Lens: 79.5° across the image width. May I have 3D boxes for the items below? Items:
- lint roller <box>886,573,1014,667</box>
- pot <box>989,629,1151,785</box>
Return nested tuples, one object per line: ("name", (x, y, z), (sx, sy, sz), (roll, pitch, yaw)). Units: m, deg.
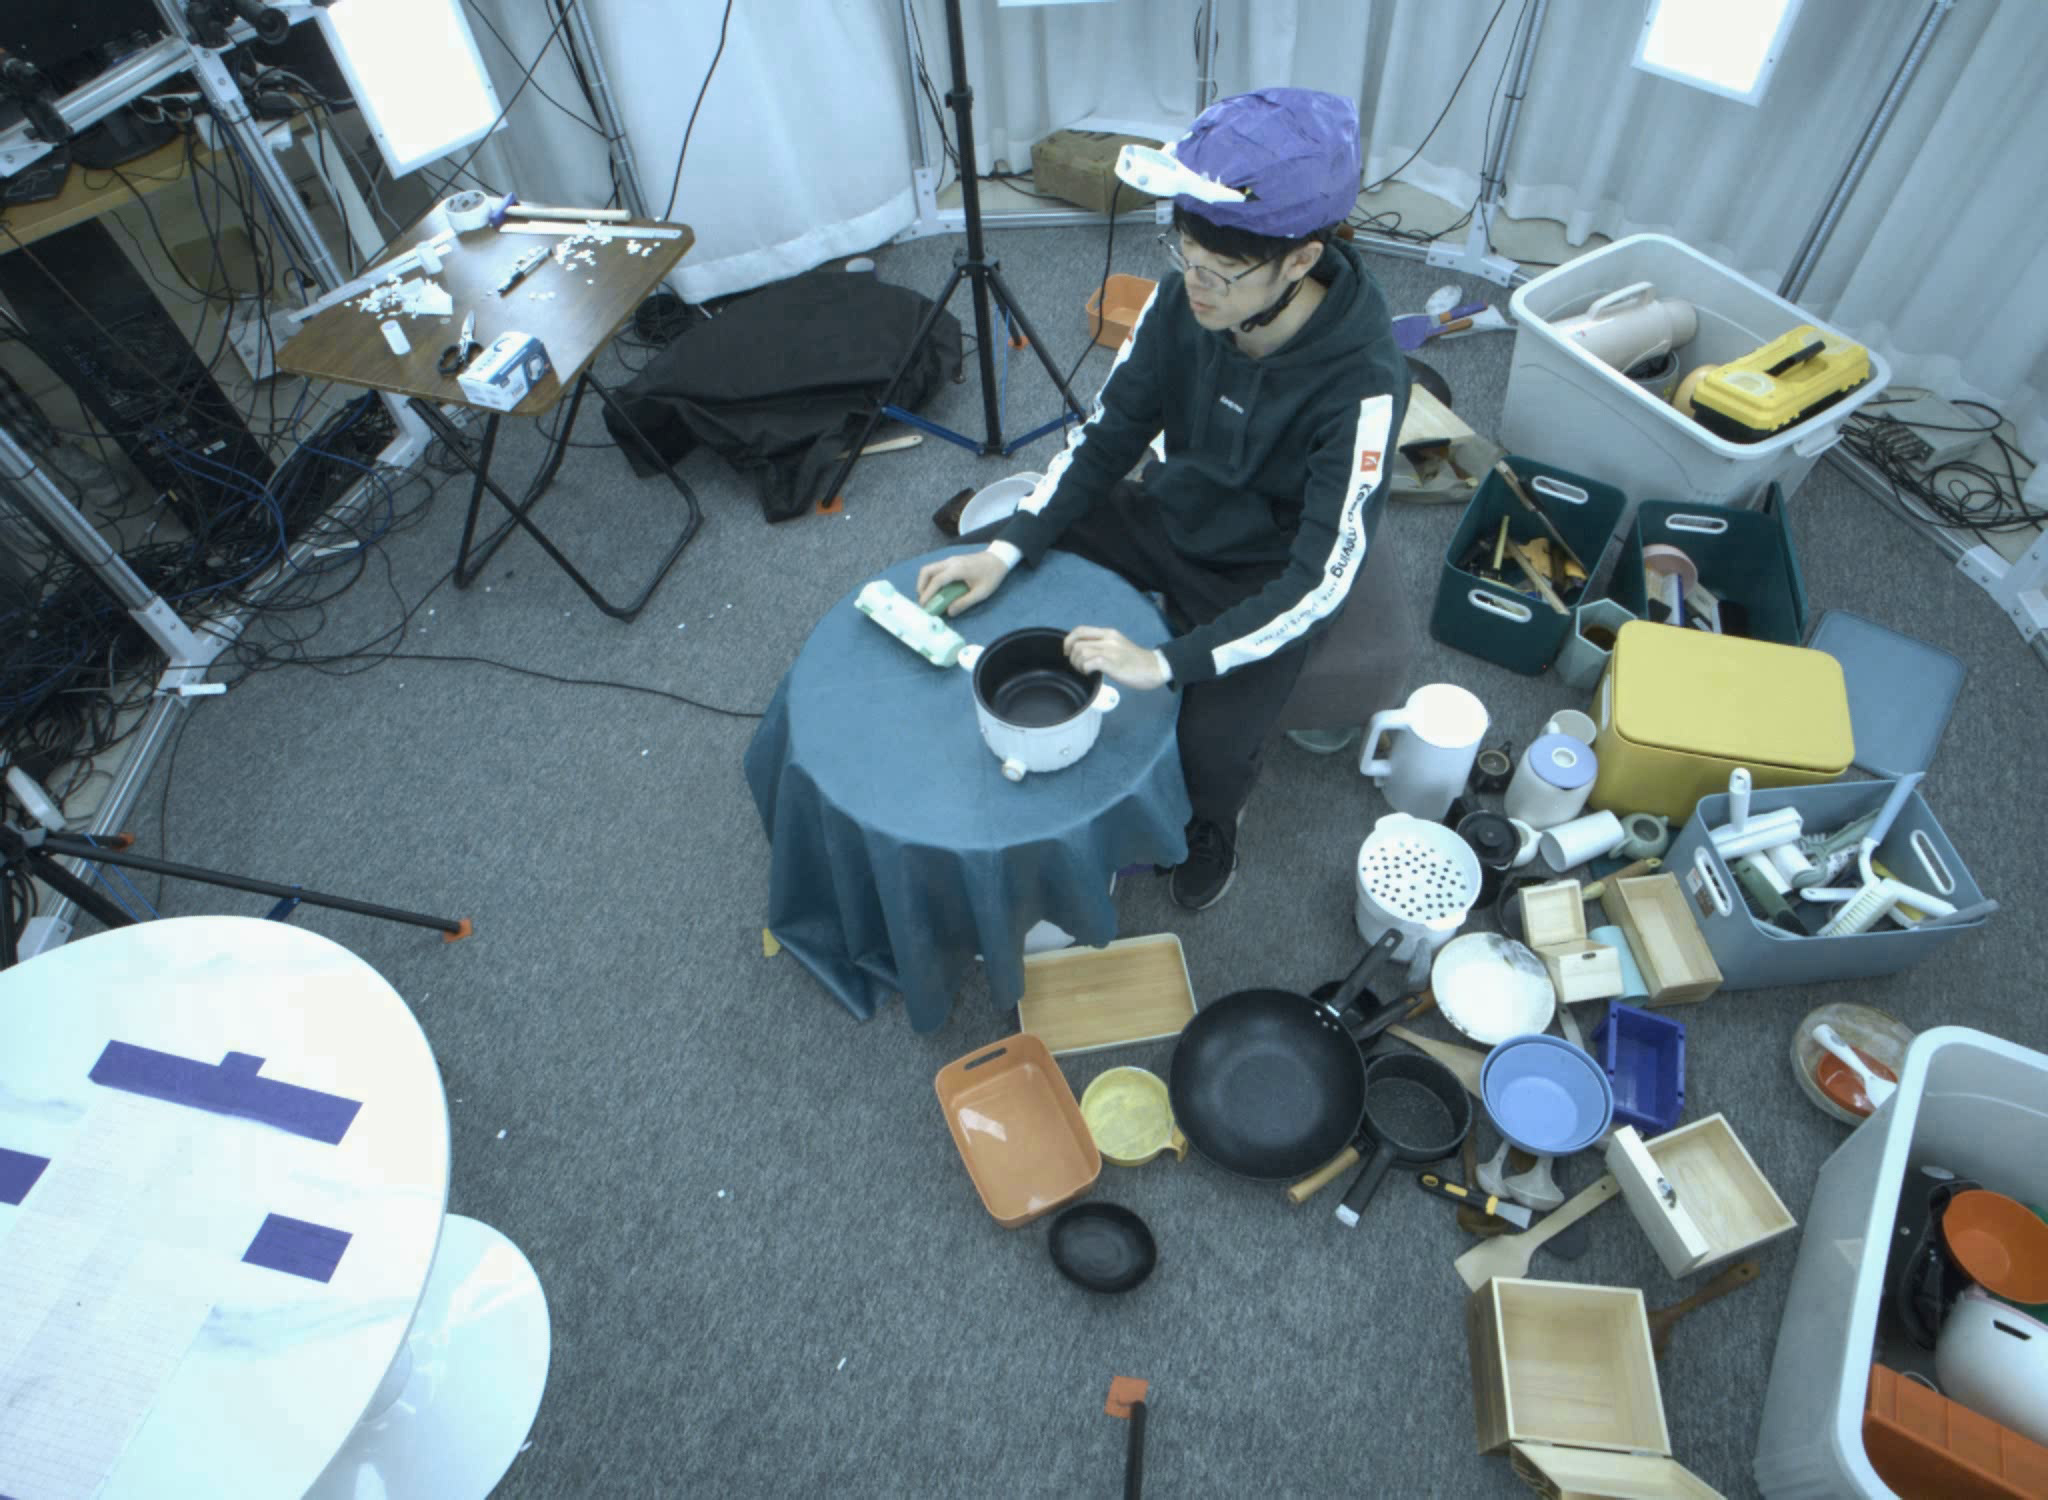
("lint roller", (-0.089, -0.236, 1.907), (0.195, 0.083, 0.184), (38, 70, 26))
("pot", (0.063, -0.054, 1.734), (0.237, 0.144, 0.191), (19, 54, 17))
